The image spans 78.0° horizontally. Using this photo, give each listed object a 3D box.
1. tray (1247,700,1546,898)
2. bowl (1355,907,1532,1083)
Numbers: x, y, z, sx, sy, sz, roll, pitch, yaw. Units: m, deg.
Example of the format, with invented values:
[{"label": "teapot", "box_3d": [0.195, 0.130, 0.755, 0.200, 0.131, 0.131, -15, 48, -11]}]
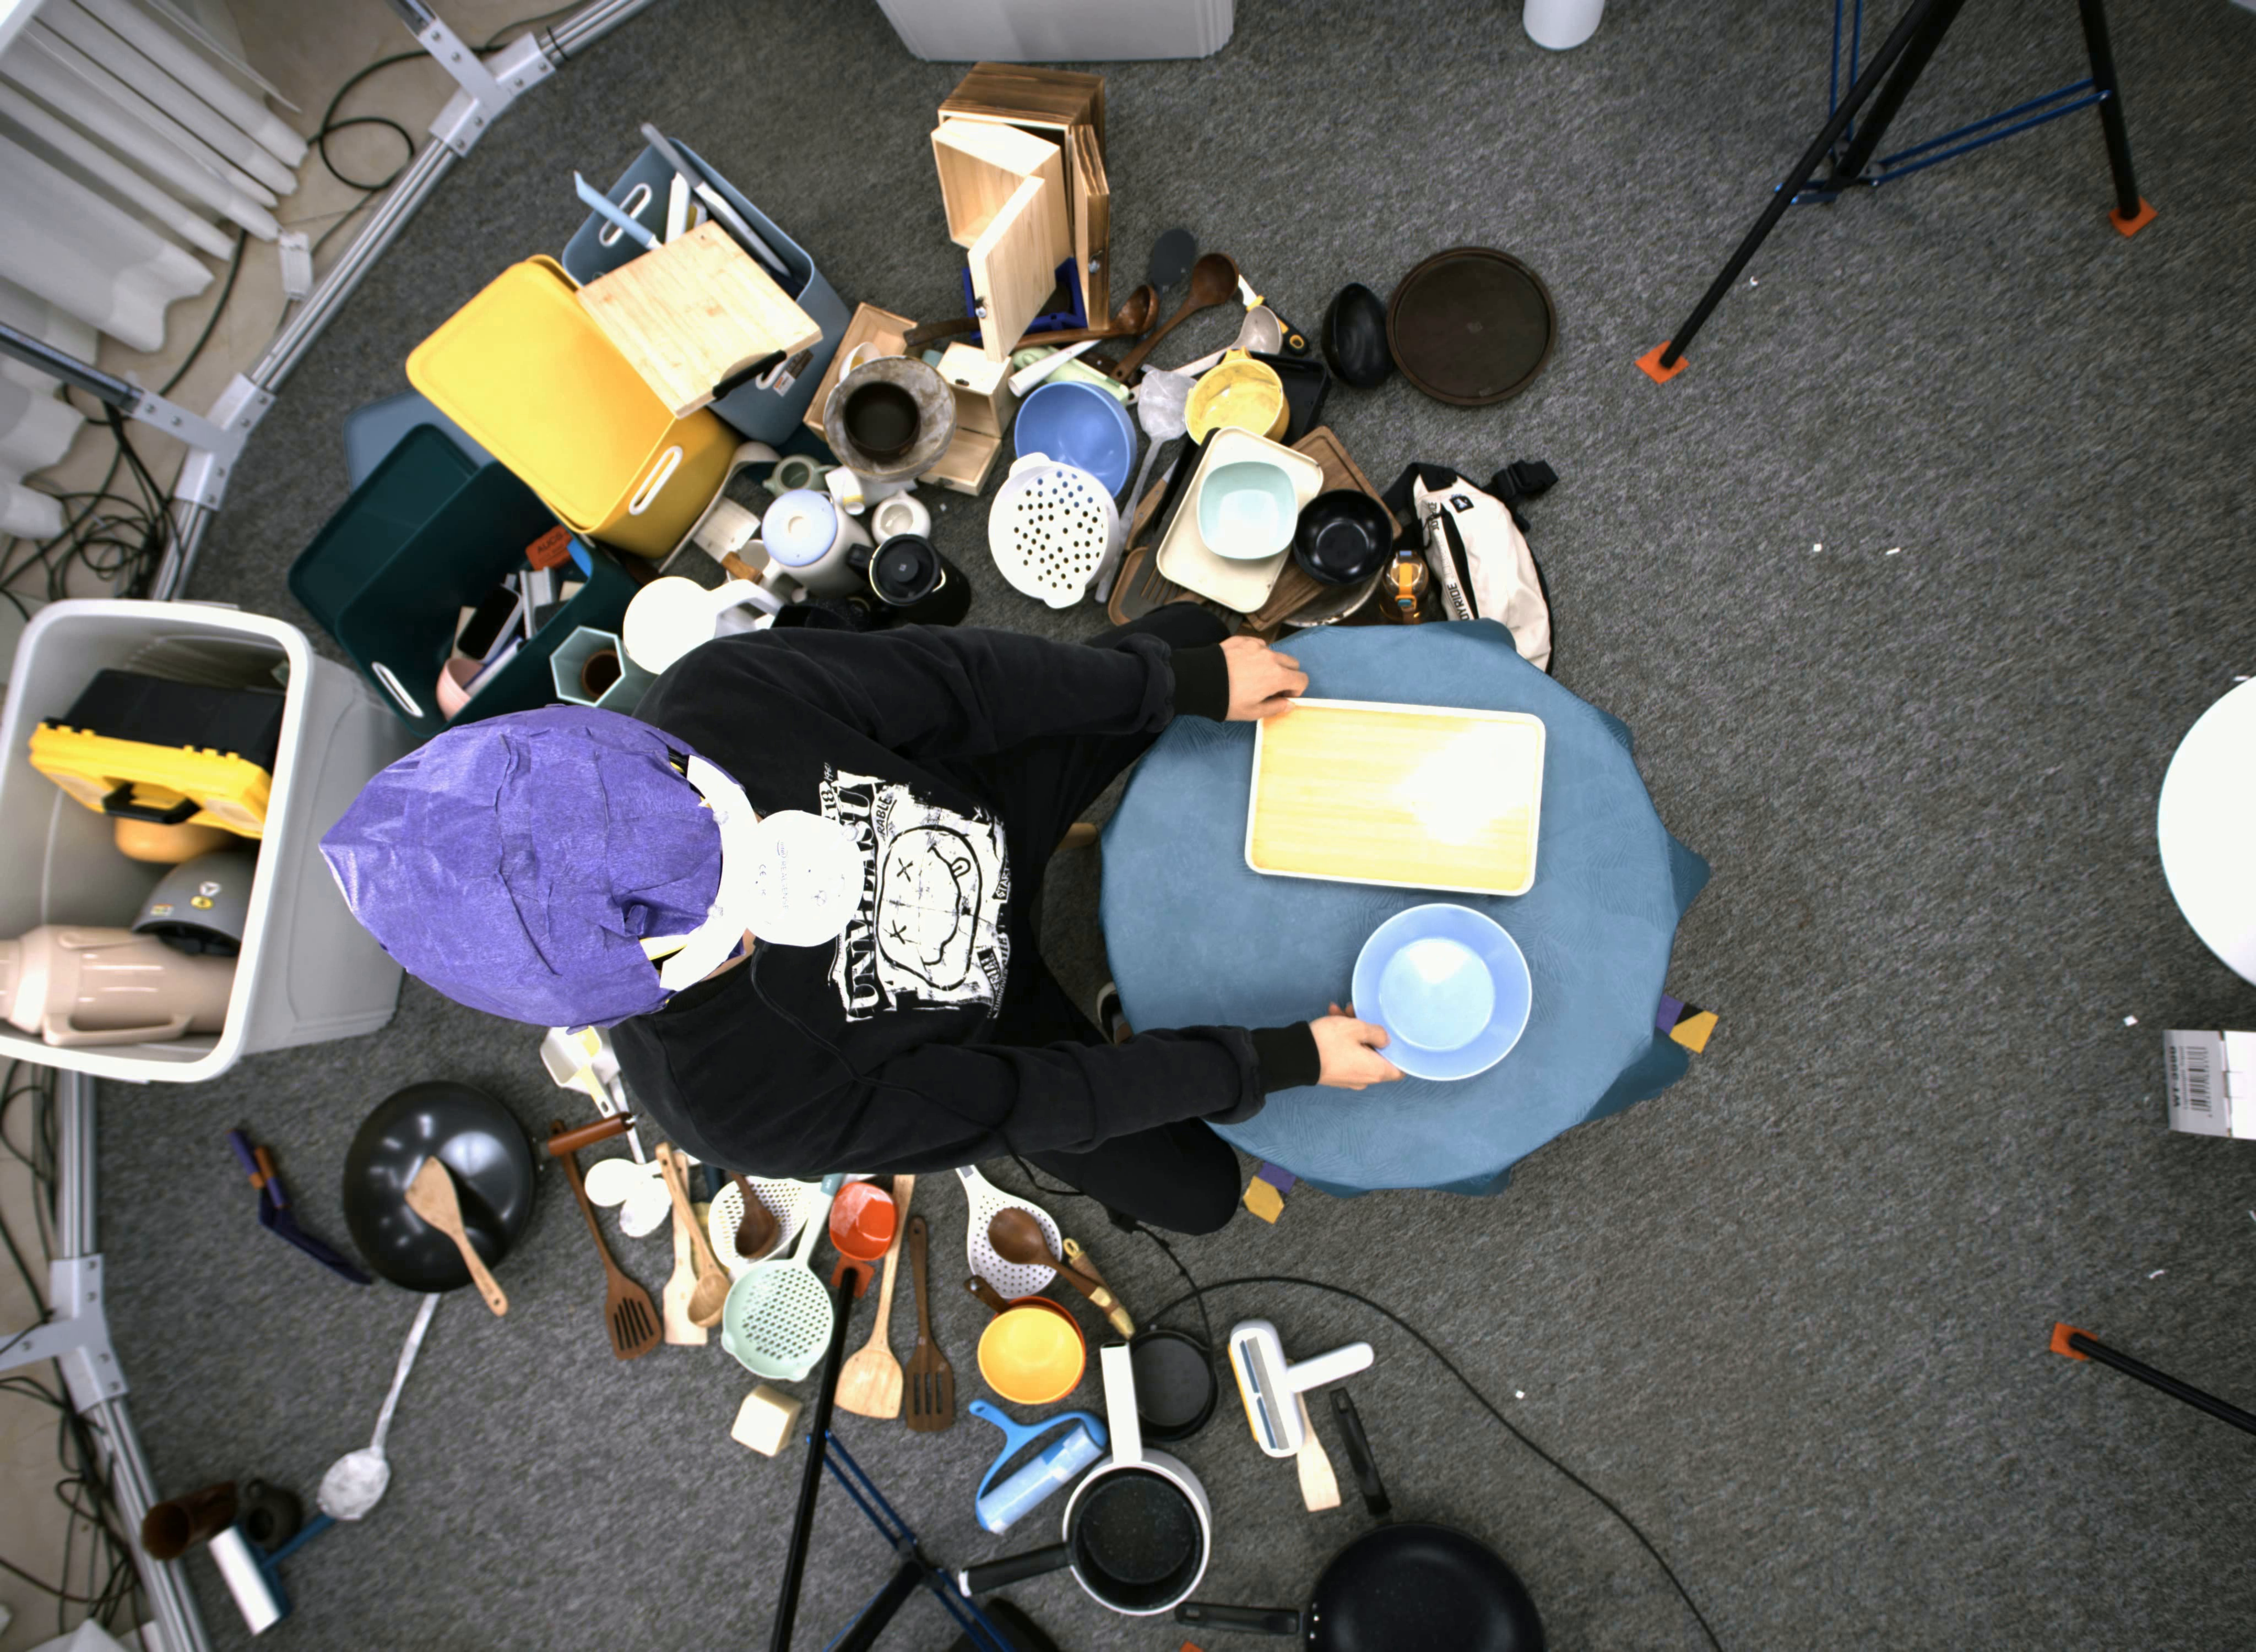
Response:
[{"label": "tray", "box_3d": [0.282, -0.031, 1.456, 0.301, 0.027, 0.191, 5, 87, 10]}, {"label": "bowl", "box_3d": [0.319, 0.172, 1.410, 0.176, 0.070, 0.174, -1, 82, 8]}]
